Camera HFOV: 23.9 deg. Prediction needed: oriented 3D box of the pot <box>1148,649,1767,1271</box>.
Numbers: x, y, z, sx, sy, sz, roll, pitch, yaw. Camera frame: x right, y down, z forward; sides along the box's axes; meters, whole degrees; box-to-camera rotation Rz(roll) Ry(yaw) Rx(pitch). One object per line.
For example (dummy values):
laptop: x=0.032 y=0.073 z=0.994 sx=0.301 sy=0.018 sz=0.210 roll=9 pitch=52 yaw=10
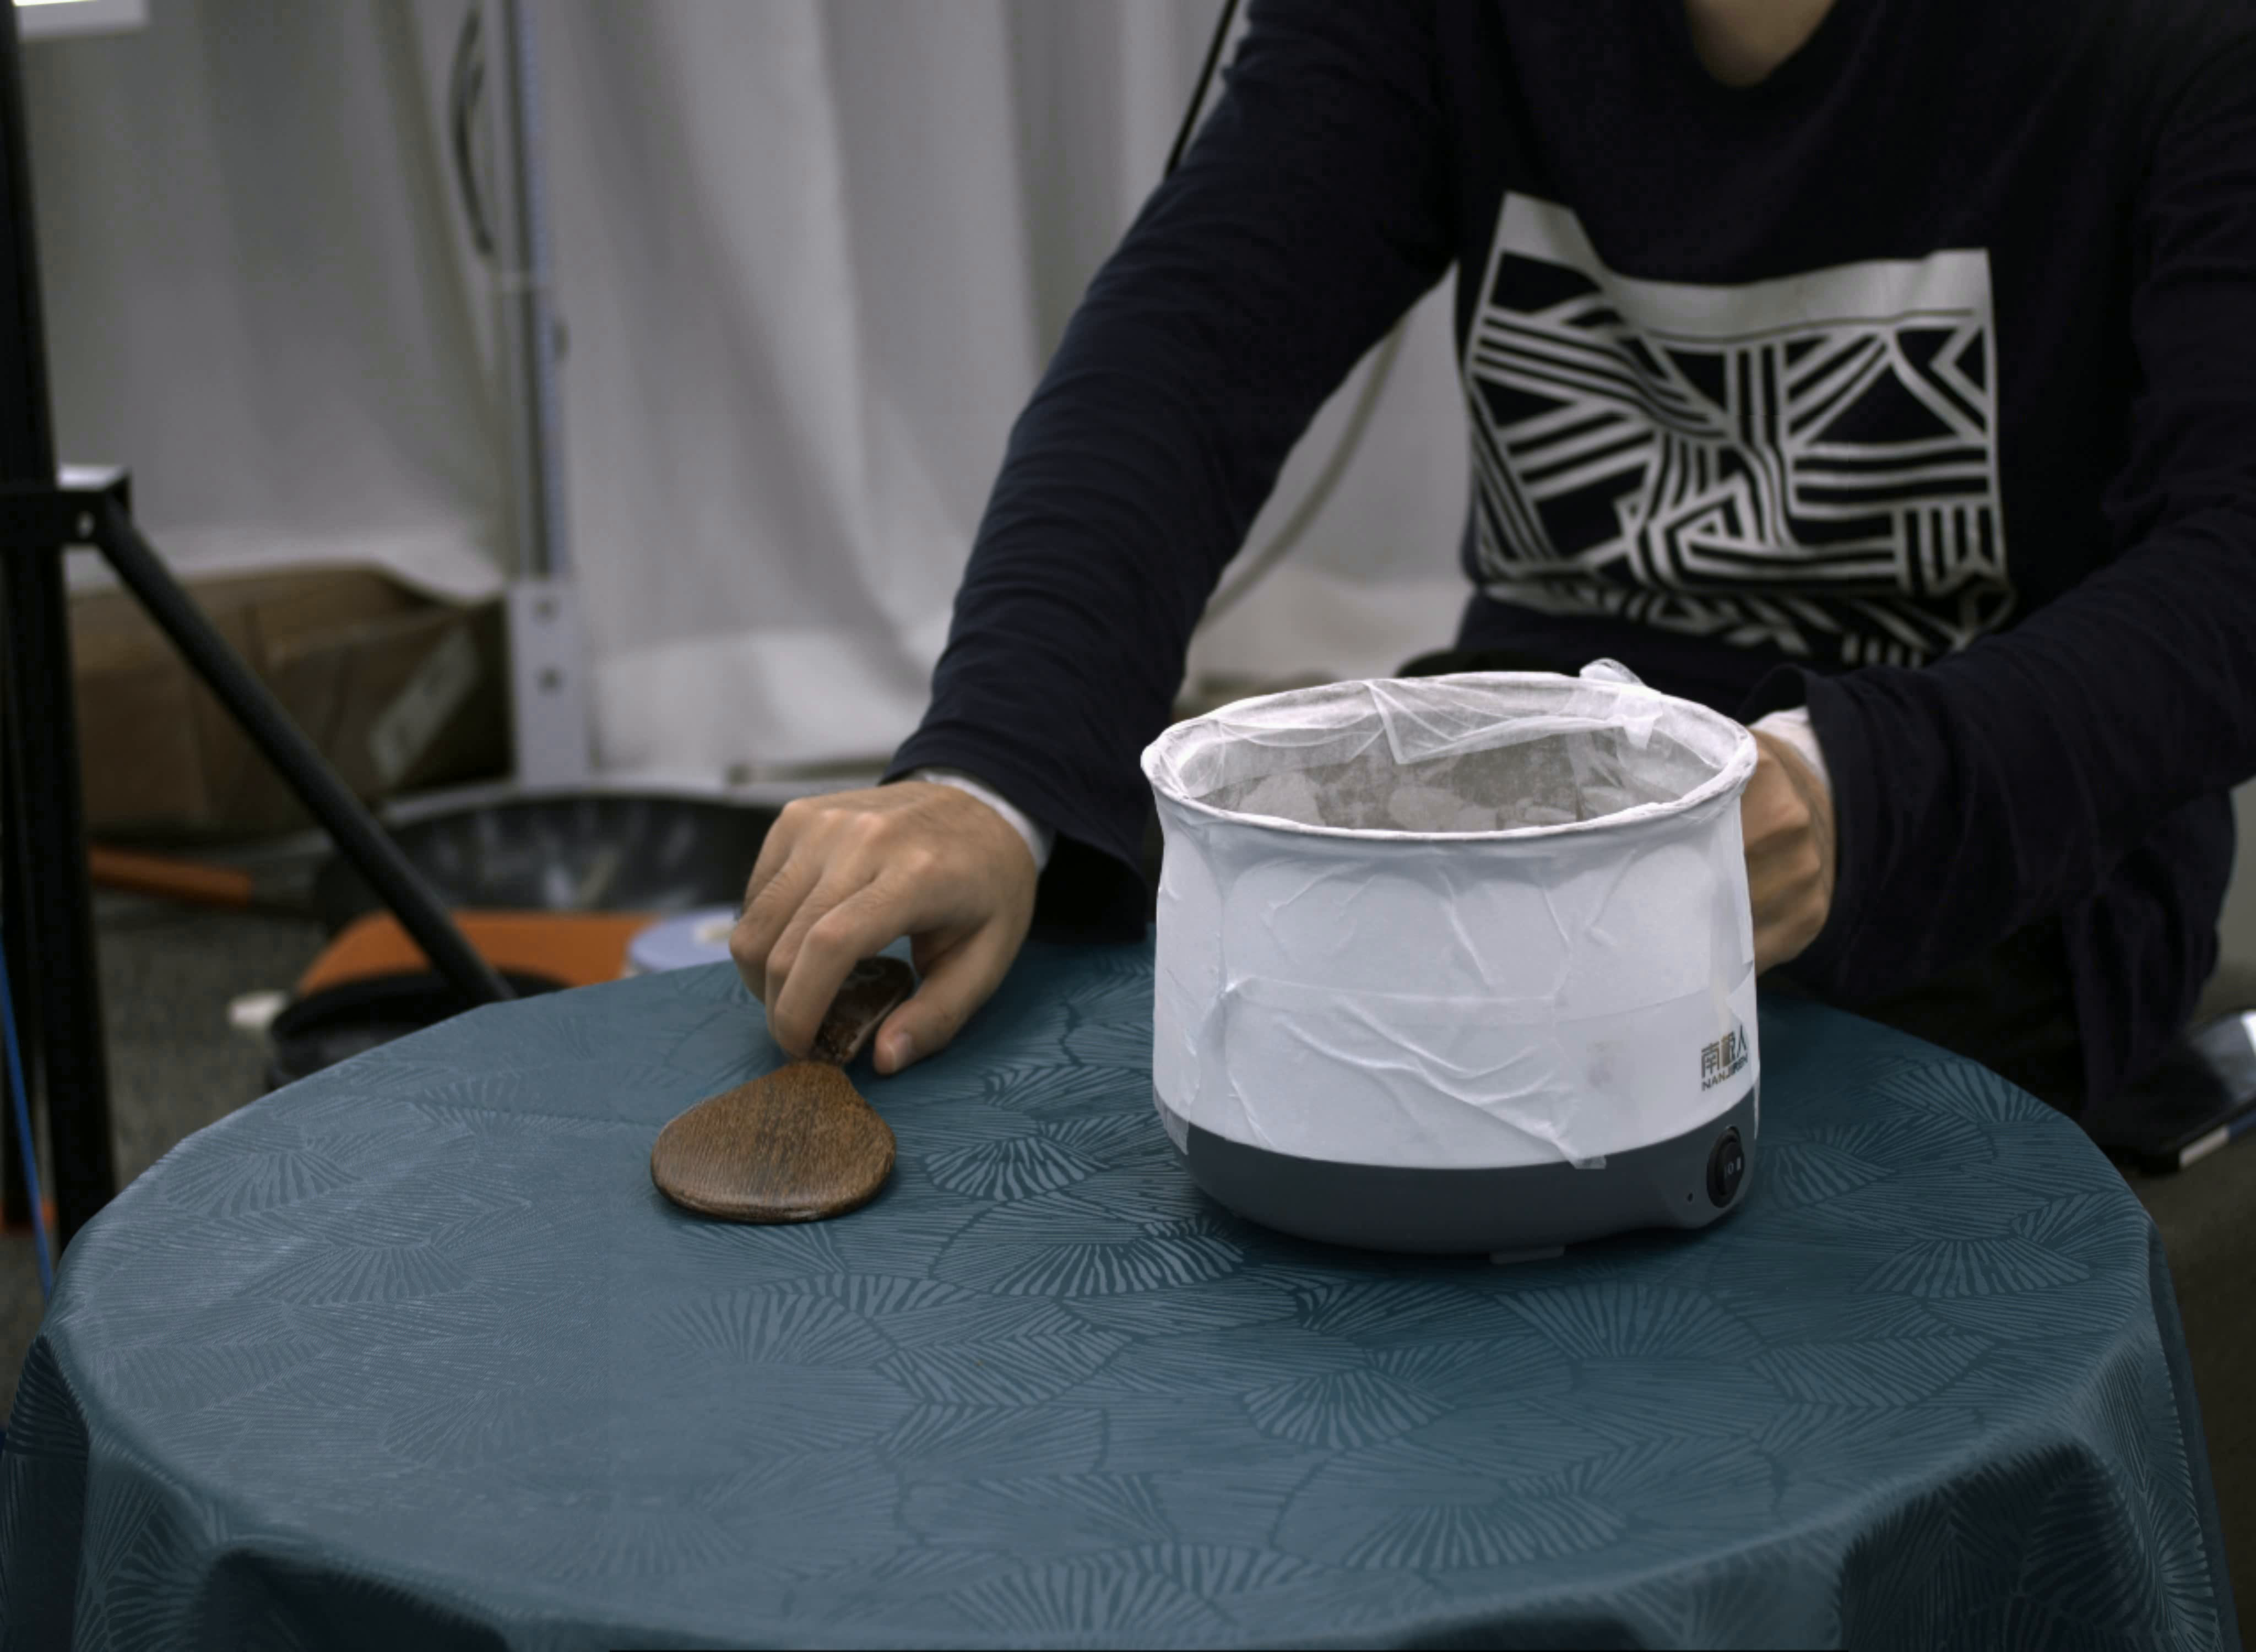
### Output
pot: x=0.108 y=0.031 z=1.559 sx=0.182 sy=0.136 sz=0.229 roll=10 pitch=21 yaw=29

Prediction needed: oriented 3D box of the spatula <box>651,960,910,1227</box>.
spatula: x=-0.095 y=0.080 z=1.648 sx=0.072 sy=0.009 sz=0.215 roll=5 pitch=19 yaw=7
